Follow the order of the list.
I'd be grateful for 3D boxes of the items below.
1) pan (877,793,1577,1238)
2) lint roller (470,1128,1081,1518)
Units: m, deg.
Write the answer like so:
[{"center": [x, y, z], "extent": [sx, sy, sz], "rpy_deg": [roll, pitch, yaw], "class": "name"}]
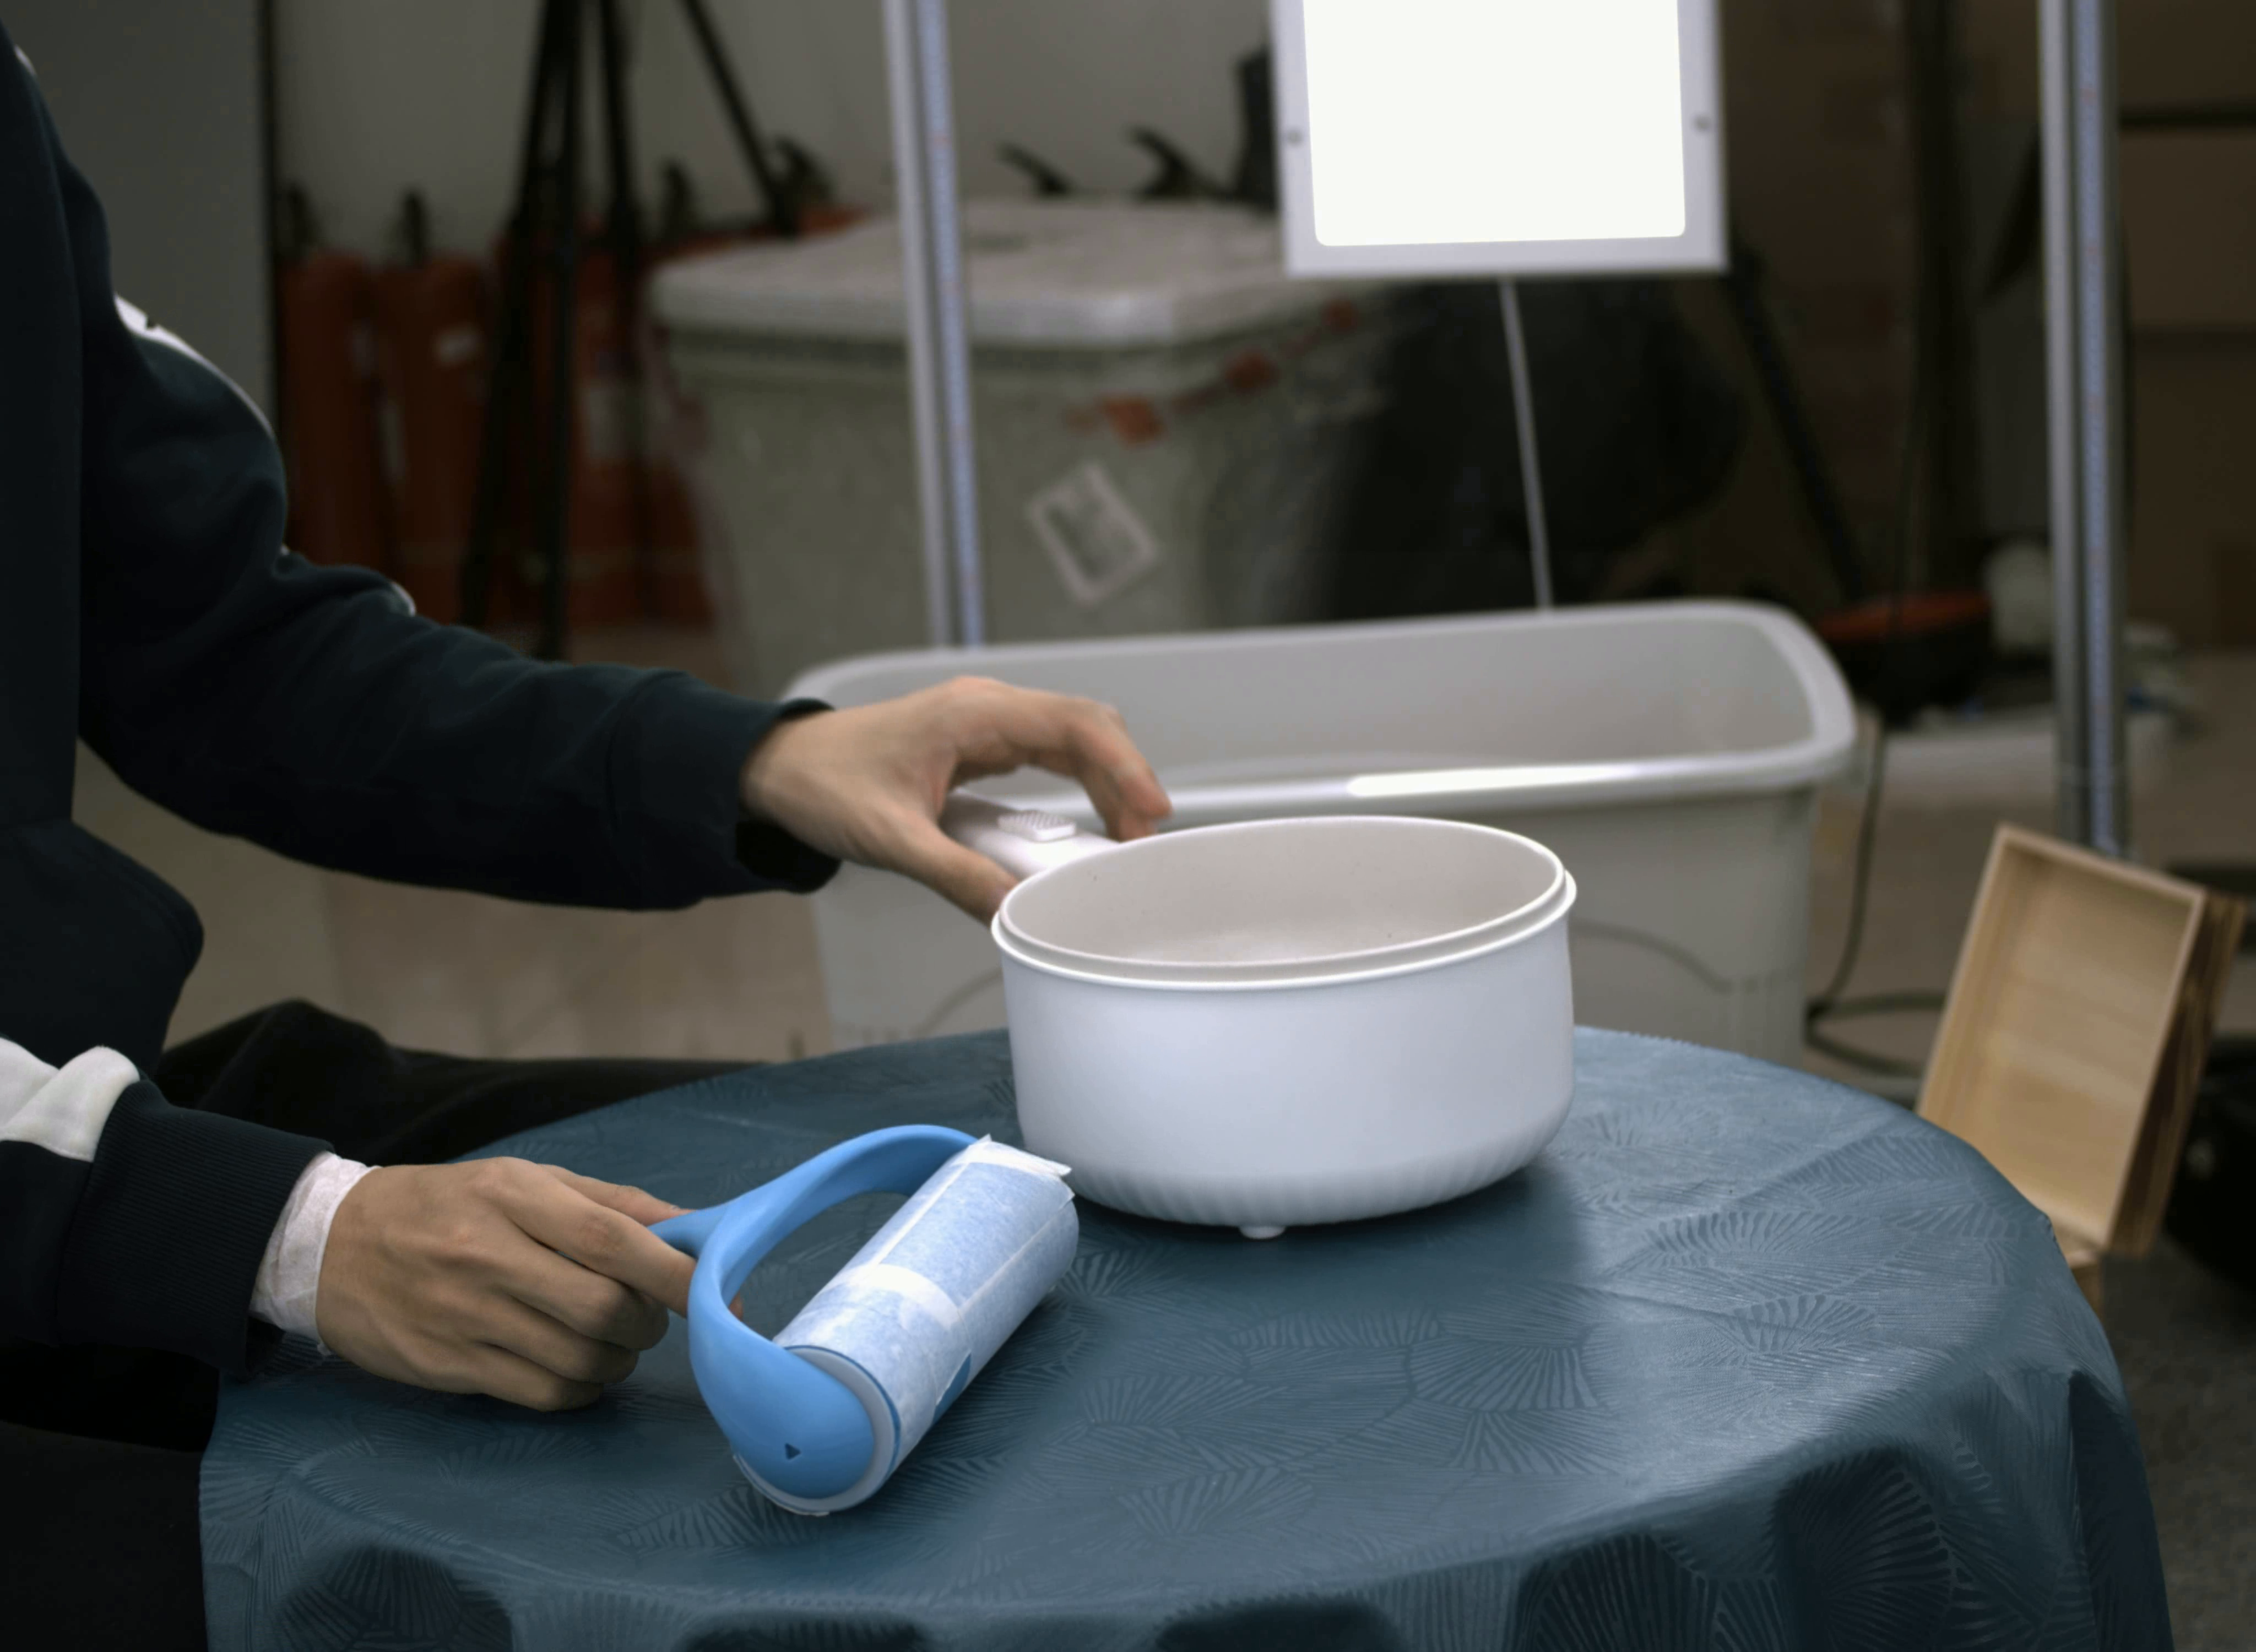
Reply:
[{"center": [0.016, 0.060, 1.957], "extent": [0.196, 0.102, 0.361], "rpy_deg": [-14, 15, -29], "class": "pan"}, {"center": [-0.123, 0.152, 1.717], "extent": [0.182, 0.068, 0.226], "rpy_deg": [0, 16, 14], "class": "lint roller"}]
